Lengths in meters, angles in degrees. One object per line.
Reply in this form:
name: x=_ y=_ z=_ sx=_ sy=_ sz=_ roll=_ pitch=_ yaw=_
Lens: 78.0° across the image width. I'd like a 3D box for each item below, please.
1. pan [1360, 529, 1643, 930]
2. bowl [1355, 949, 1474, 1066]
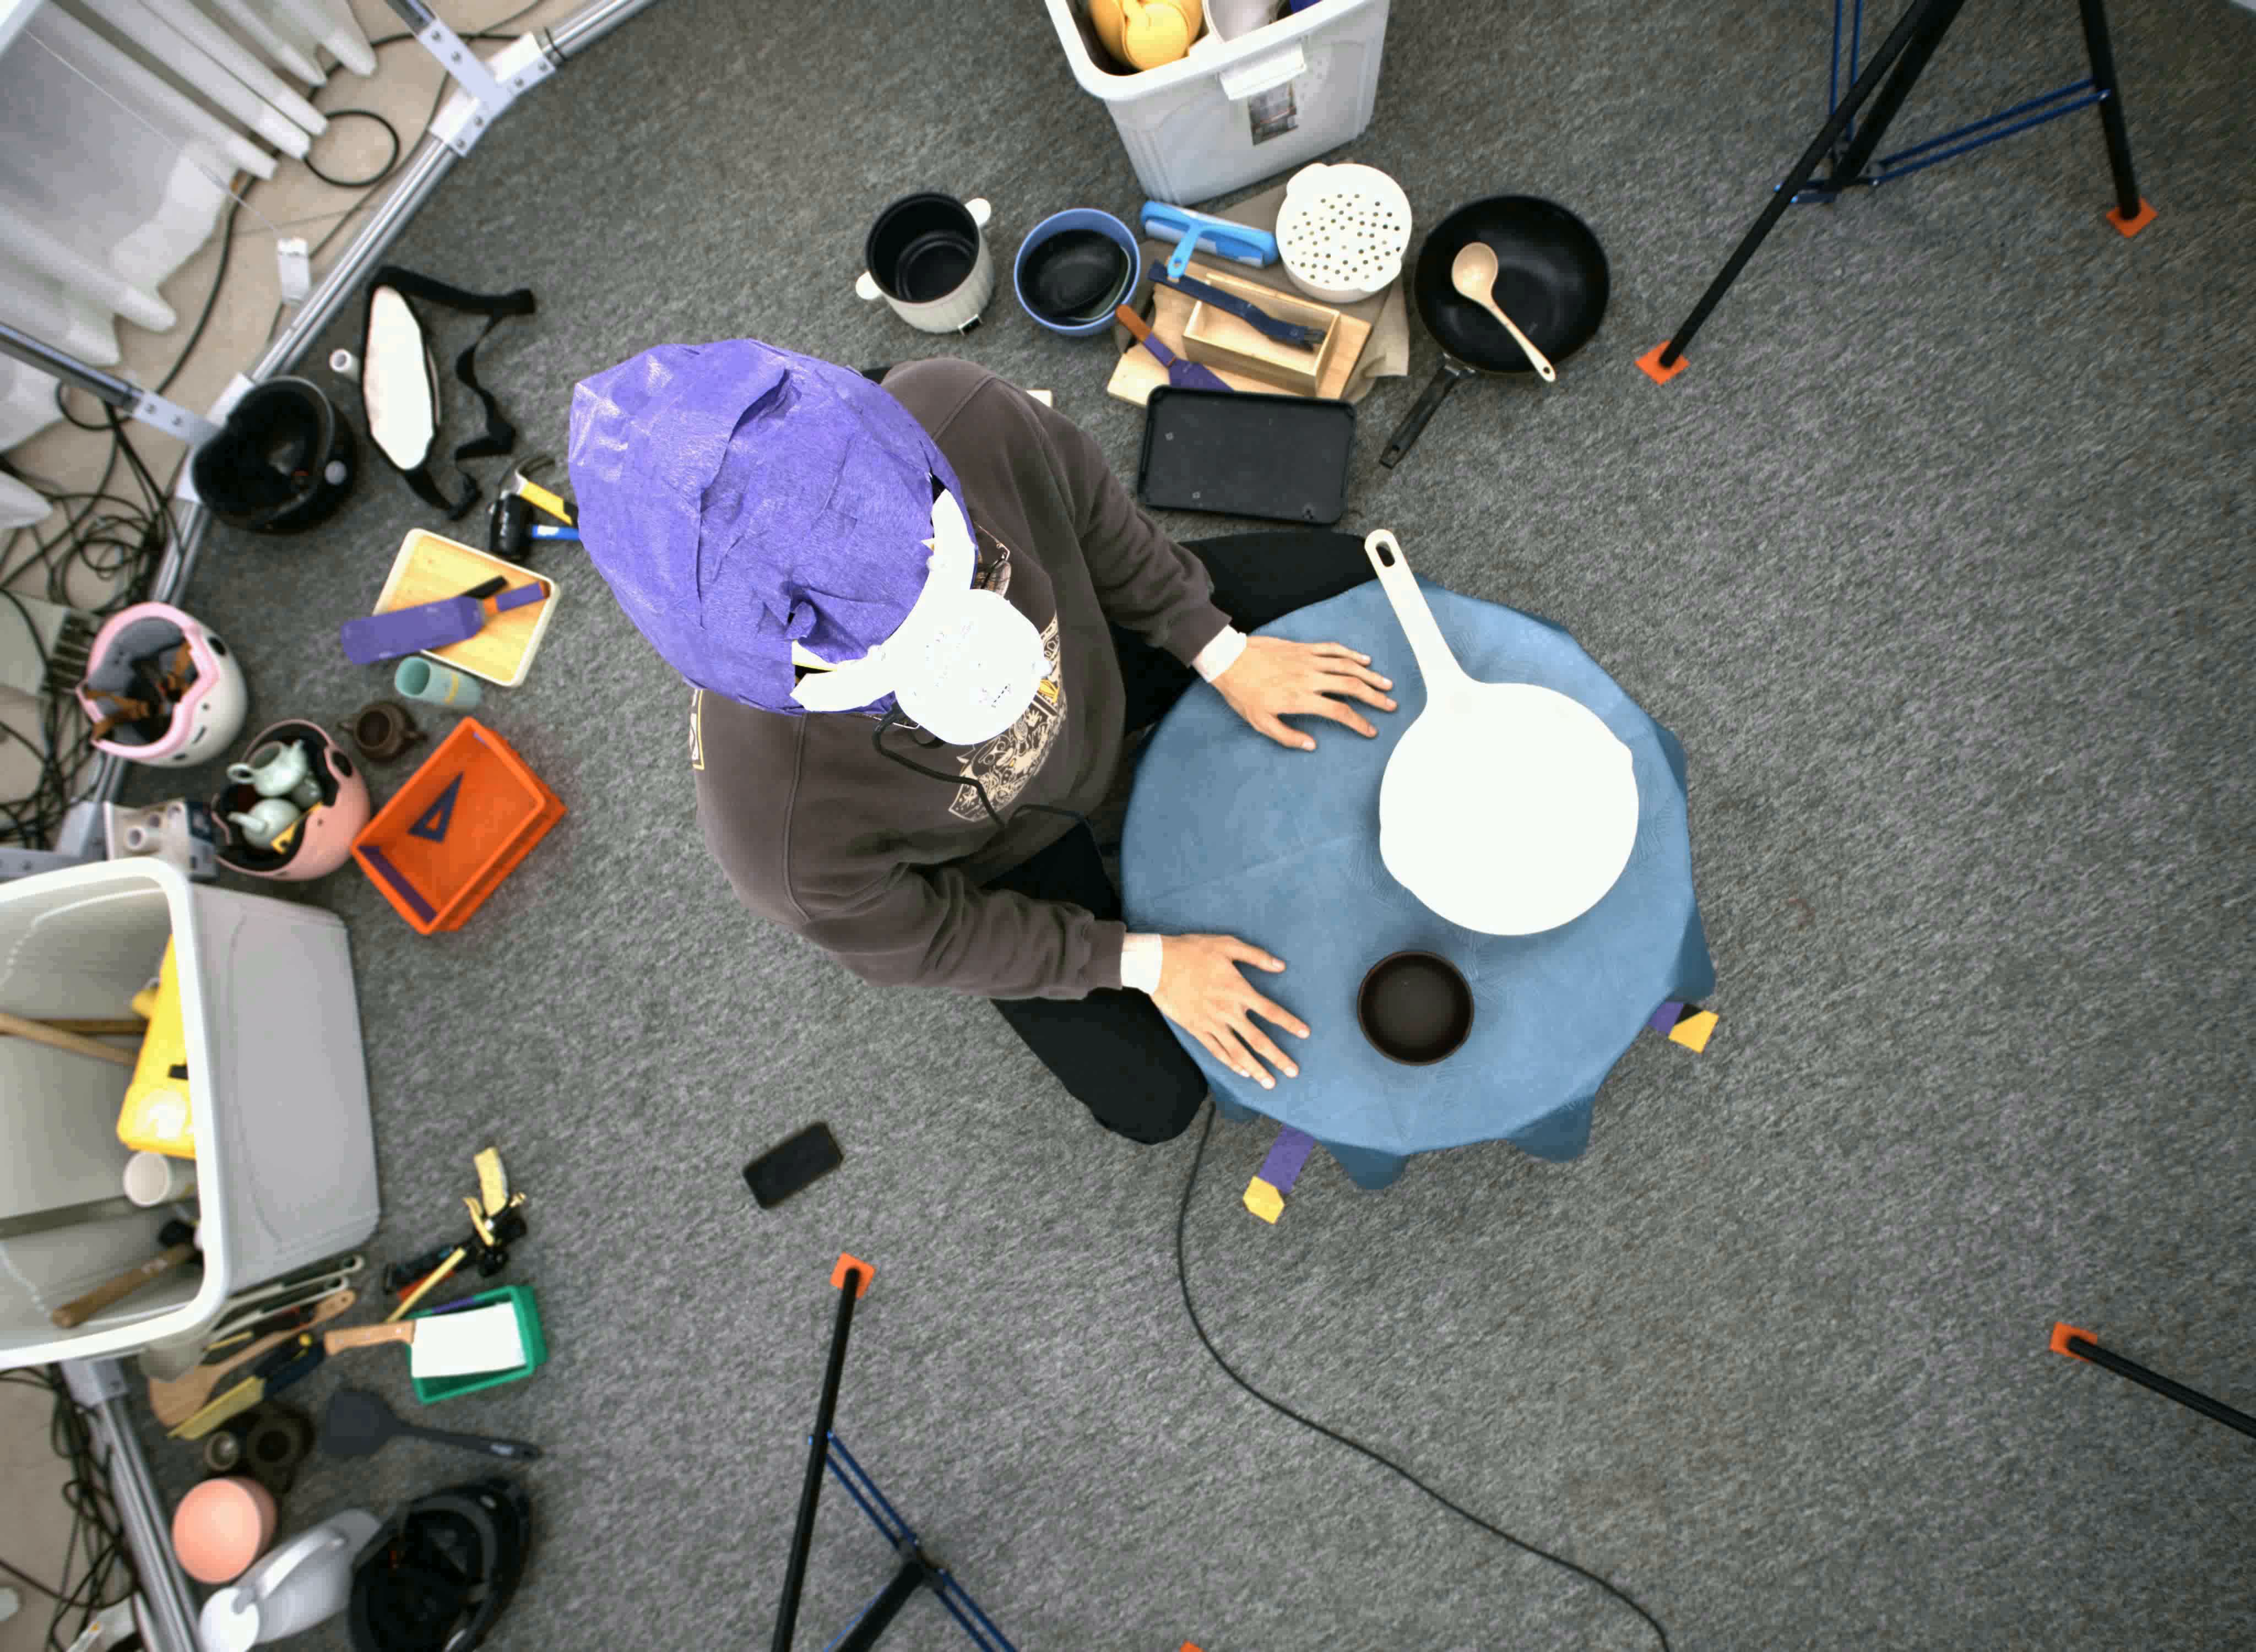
pan: x=0.347 y=-0.104 z=1.402 sx=0.265 sy=0.102 sz=0.432 roll=-26 pitch=82 yaw=10
bowl: x=0.292 y=0.183 z=1.412 sx=0.118 sy=0.070 sz=0.117 roll=-1 pitch=87 yaw=12
